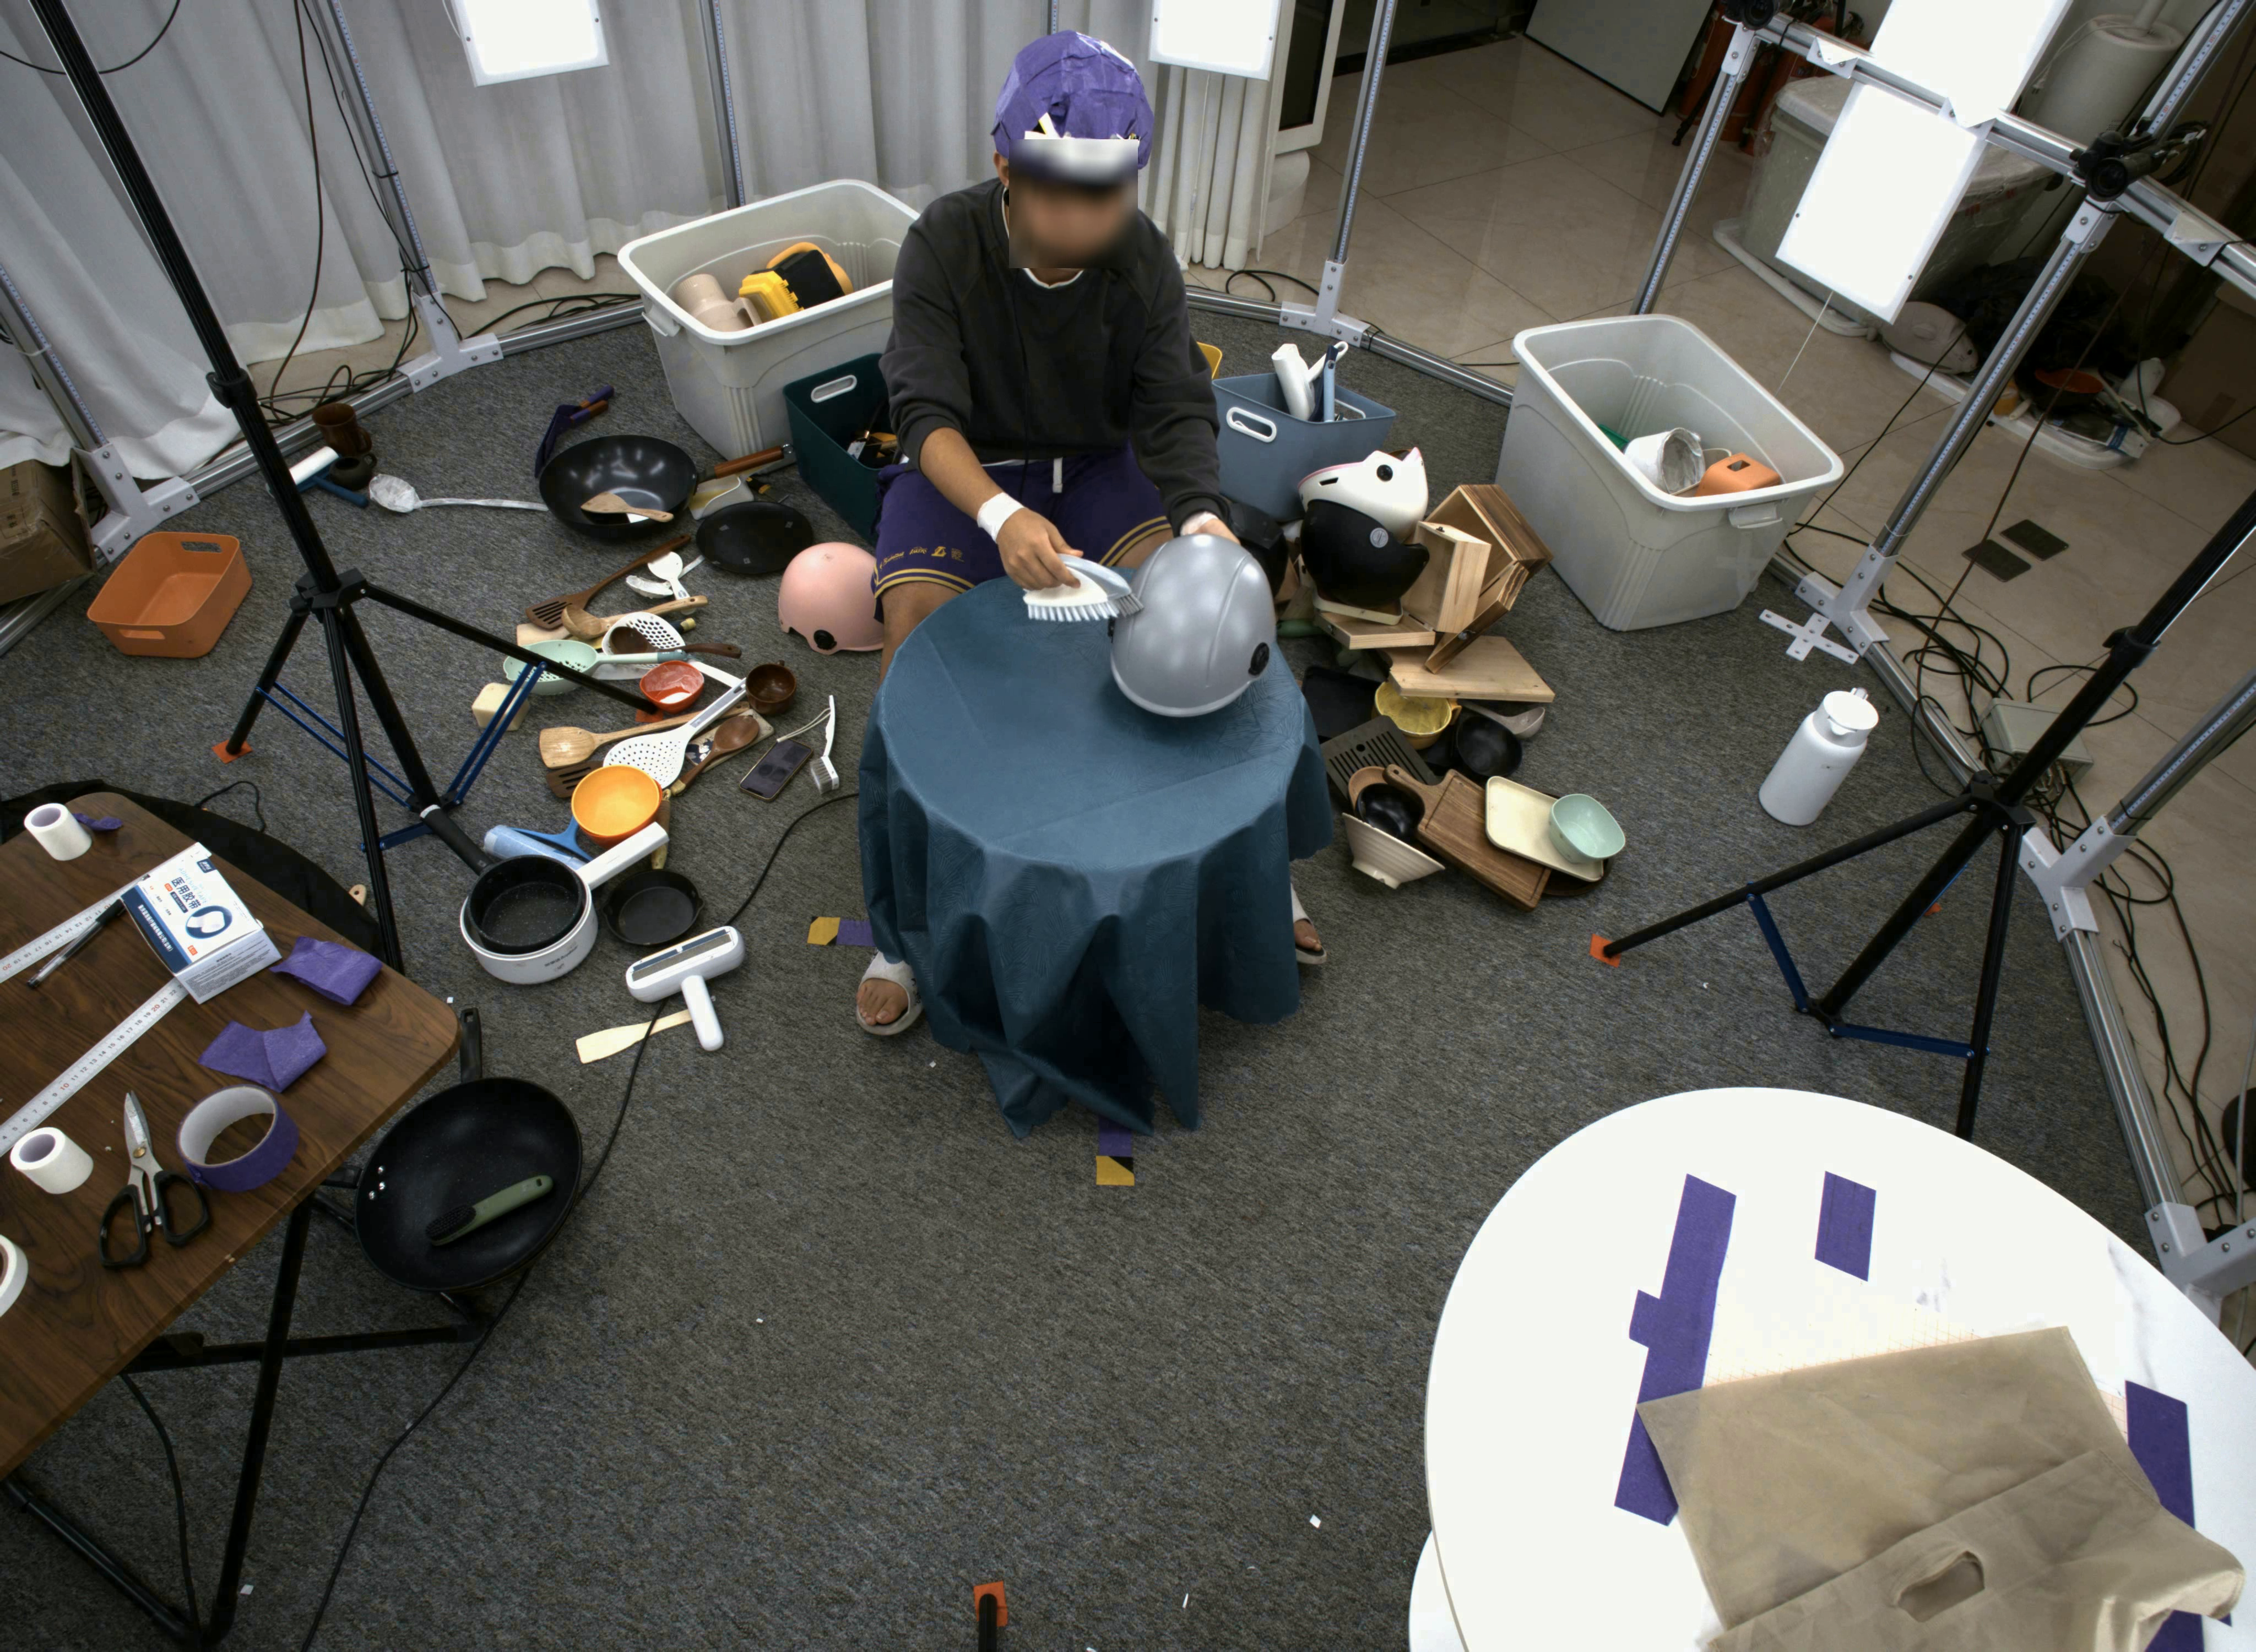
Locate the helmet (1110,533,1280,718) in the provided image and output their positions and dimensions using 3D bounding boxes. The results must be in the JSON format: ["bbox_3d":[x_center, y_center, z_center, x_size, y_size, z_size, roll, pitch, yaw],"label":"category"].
[{"bbox_3d":[0.092,-0.298,1.762,0.233,0.164,0.281,14,50,17],"label":"helmet"}]

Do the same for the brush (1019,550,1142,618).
[{"bbox_3d":[-0.069,-0.328,1.719,0.177,0.092,0.062,10,57,32],"label":"brush"}]
